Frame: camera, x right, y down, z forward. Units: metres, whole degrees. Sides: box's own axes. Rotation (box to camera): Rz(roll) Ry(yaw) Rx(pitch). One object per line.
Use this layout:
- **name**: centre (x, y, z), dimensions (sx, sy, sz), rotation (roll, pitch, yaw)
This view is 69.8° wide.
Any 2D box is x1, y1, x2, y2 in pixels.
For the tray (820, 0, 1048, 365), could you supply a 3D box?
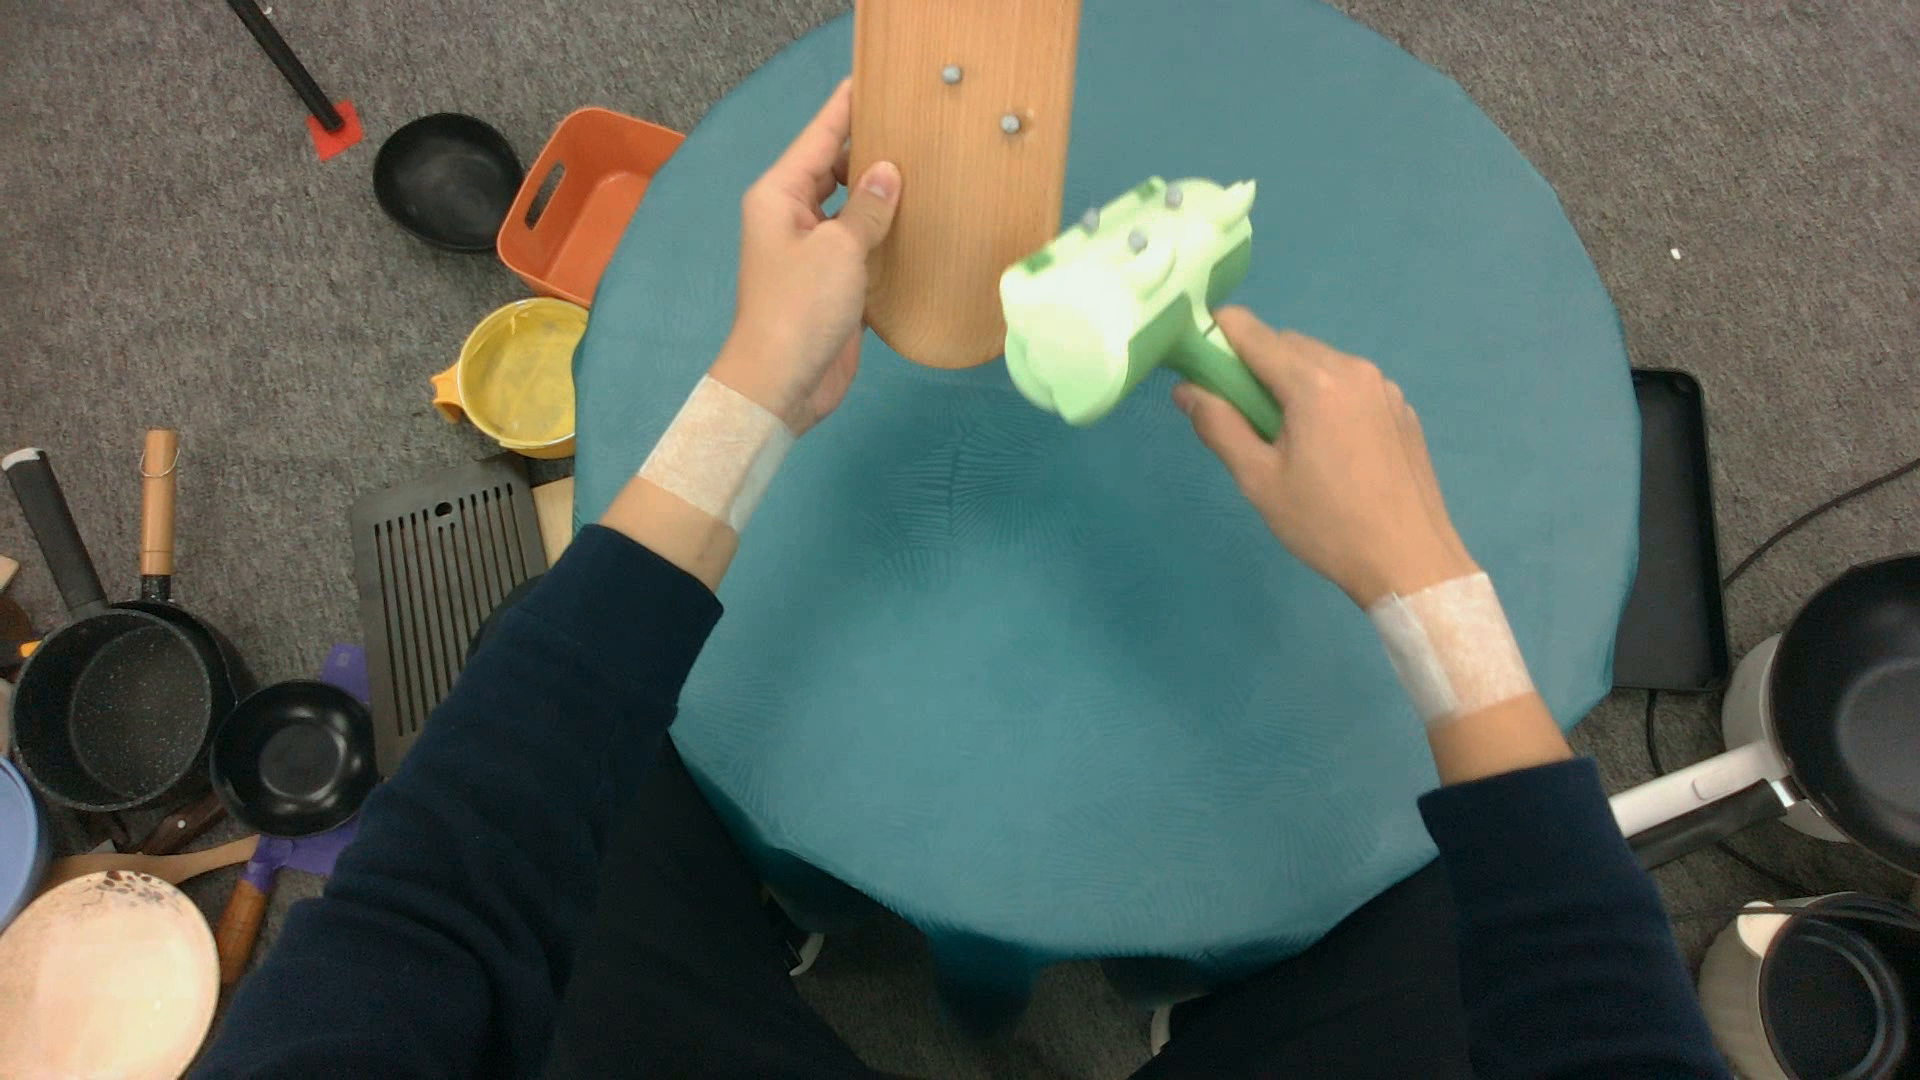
- **tray**: centre (-0.012, -0.191, 0.600), dimensions (0.101, 0.020, 0.230), rotation (10, 112, 20)

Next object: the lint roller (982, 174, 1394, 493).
- **lint roller**: centre (0.123, -0.094, 0.611), dimensions (0.183, 0.082, 0.199), rotation (30, 36, 10)
